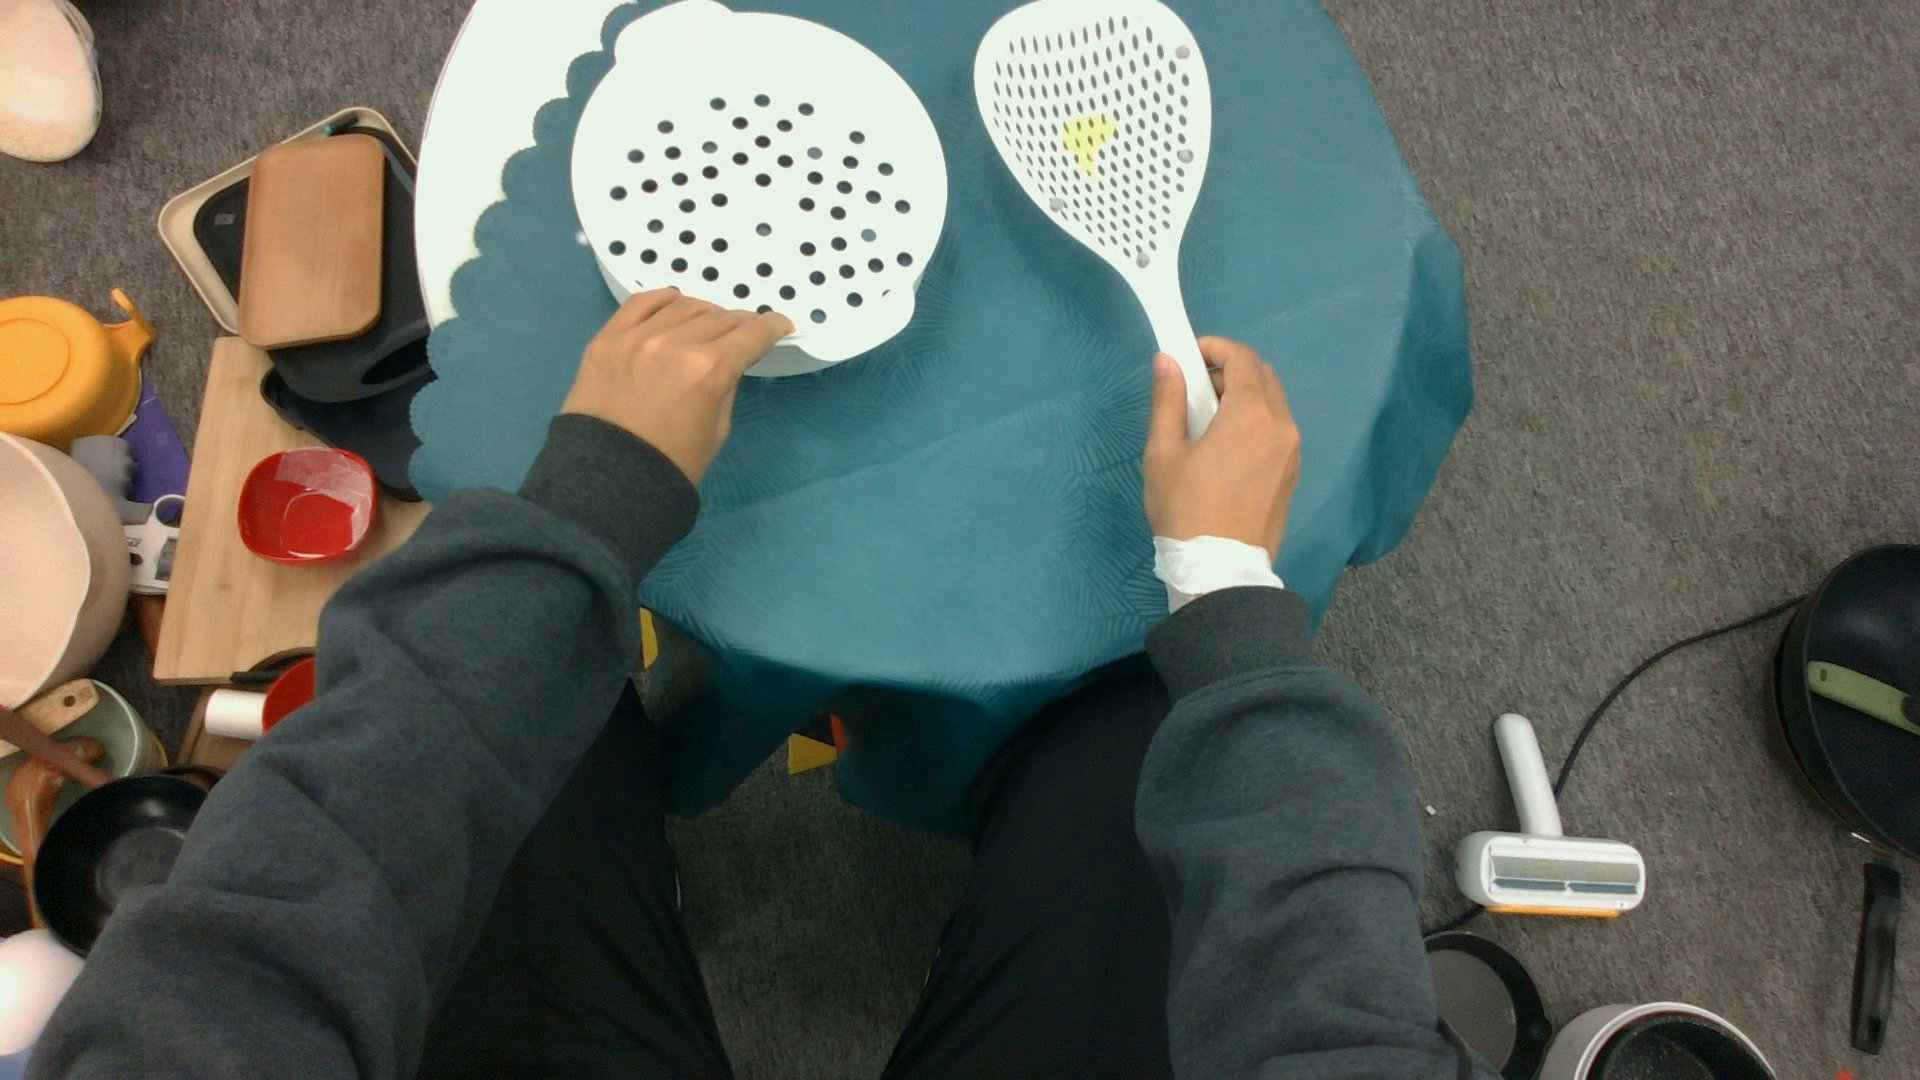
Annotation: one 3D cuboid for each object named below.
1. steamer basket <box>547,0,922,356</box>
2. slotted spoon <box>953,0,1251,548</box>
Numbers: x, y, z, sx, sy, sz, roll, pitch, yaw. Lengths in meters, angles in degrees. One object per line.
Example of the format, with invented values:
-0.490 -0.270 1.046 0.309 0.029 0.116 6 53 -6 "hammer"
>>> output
-0.125 -0.201 0.776 0.202 0.069 0.231 -31 79 -16 "steamer basket"
0.096 -0.160 0.784 0.137 0.050 0.348 -15 74 -11 "slotted spoon"
